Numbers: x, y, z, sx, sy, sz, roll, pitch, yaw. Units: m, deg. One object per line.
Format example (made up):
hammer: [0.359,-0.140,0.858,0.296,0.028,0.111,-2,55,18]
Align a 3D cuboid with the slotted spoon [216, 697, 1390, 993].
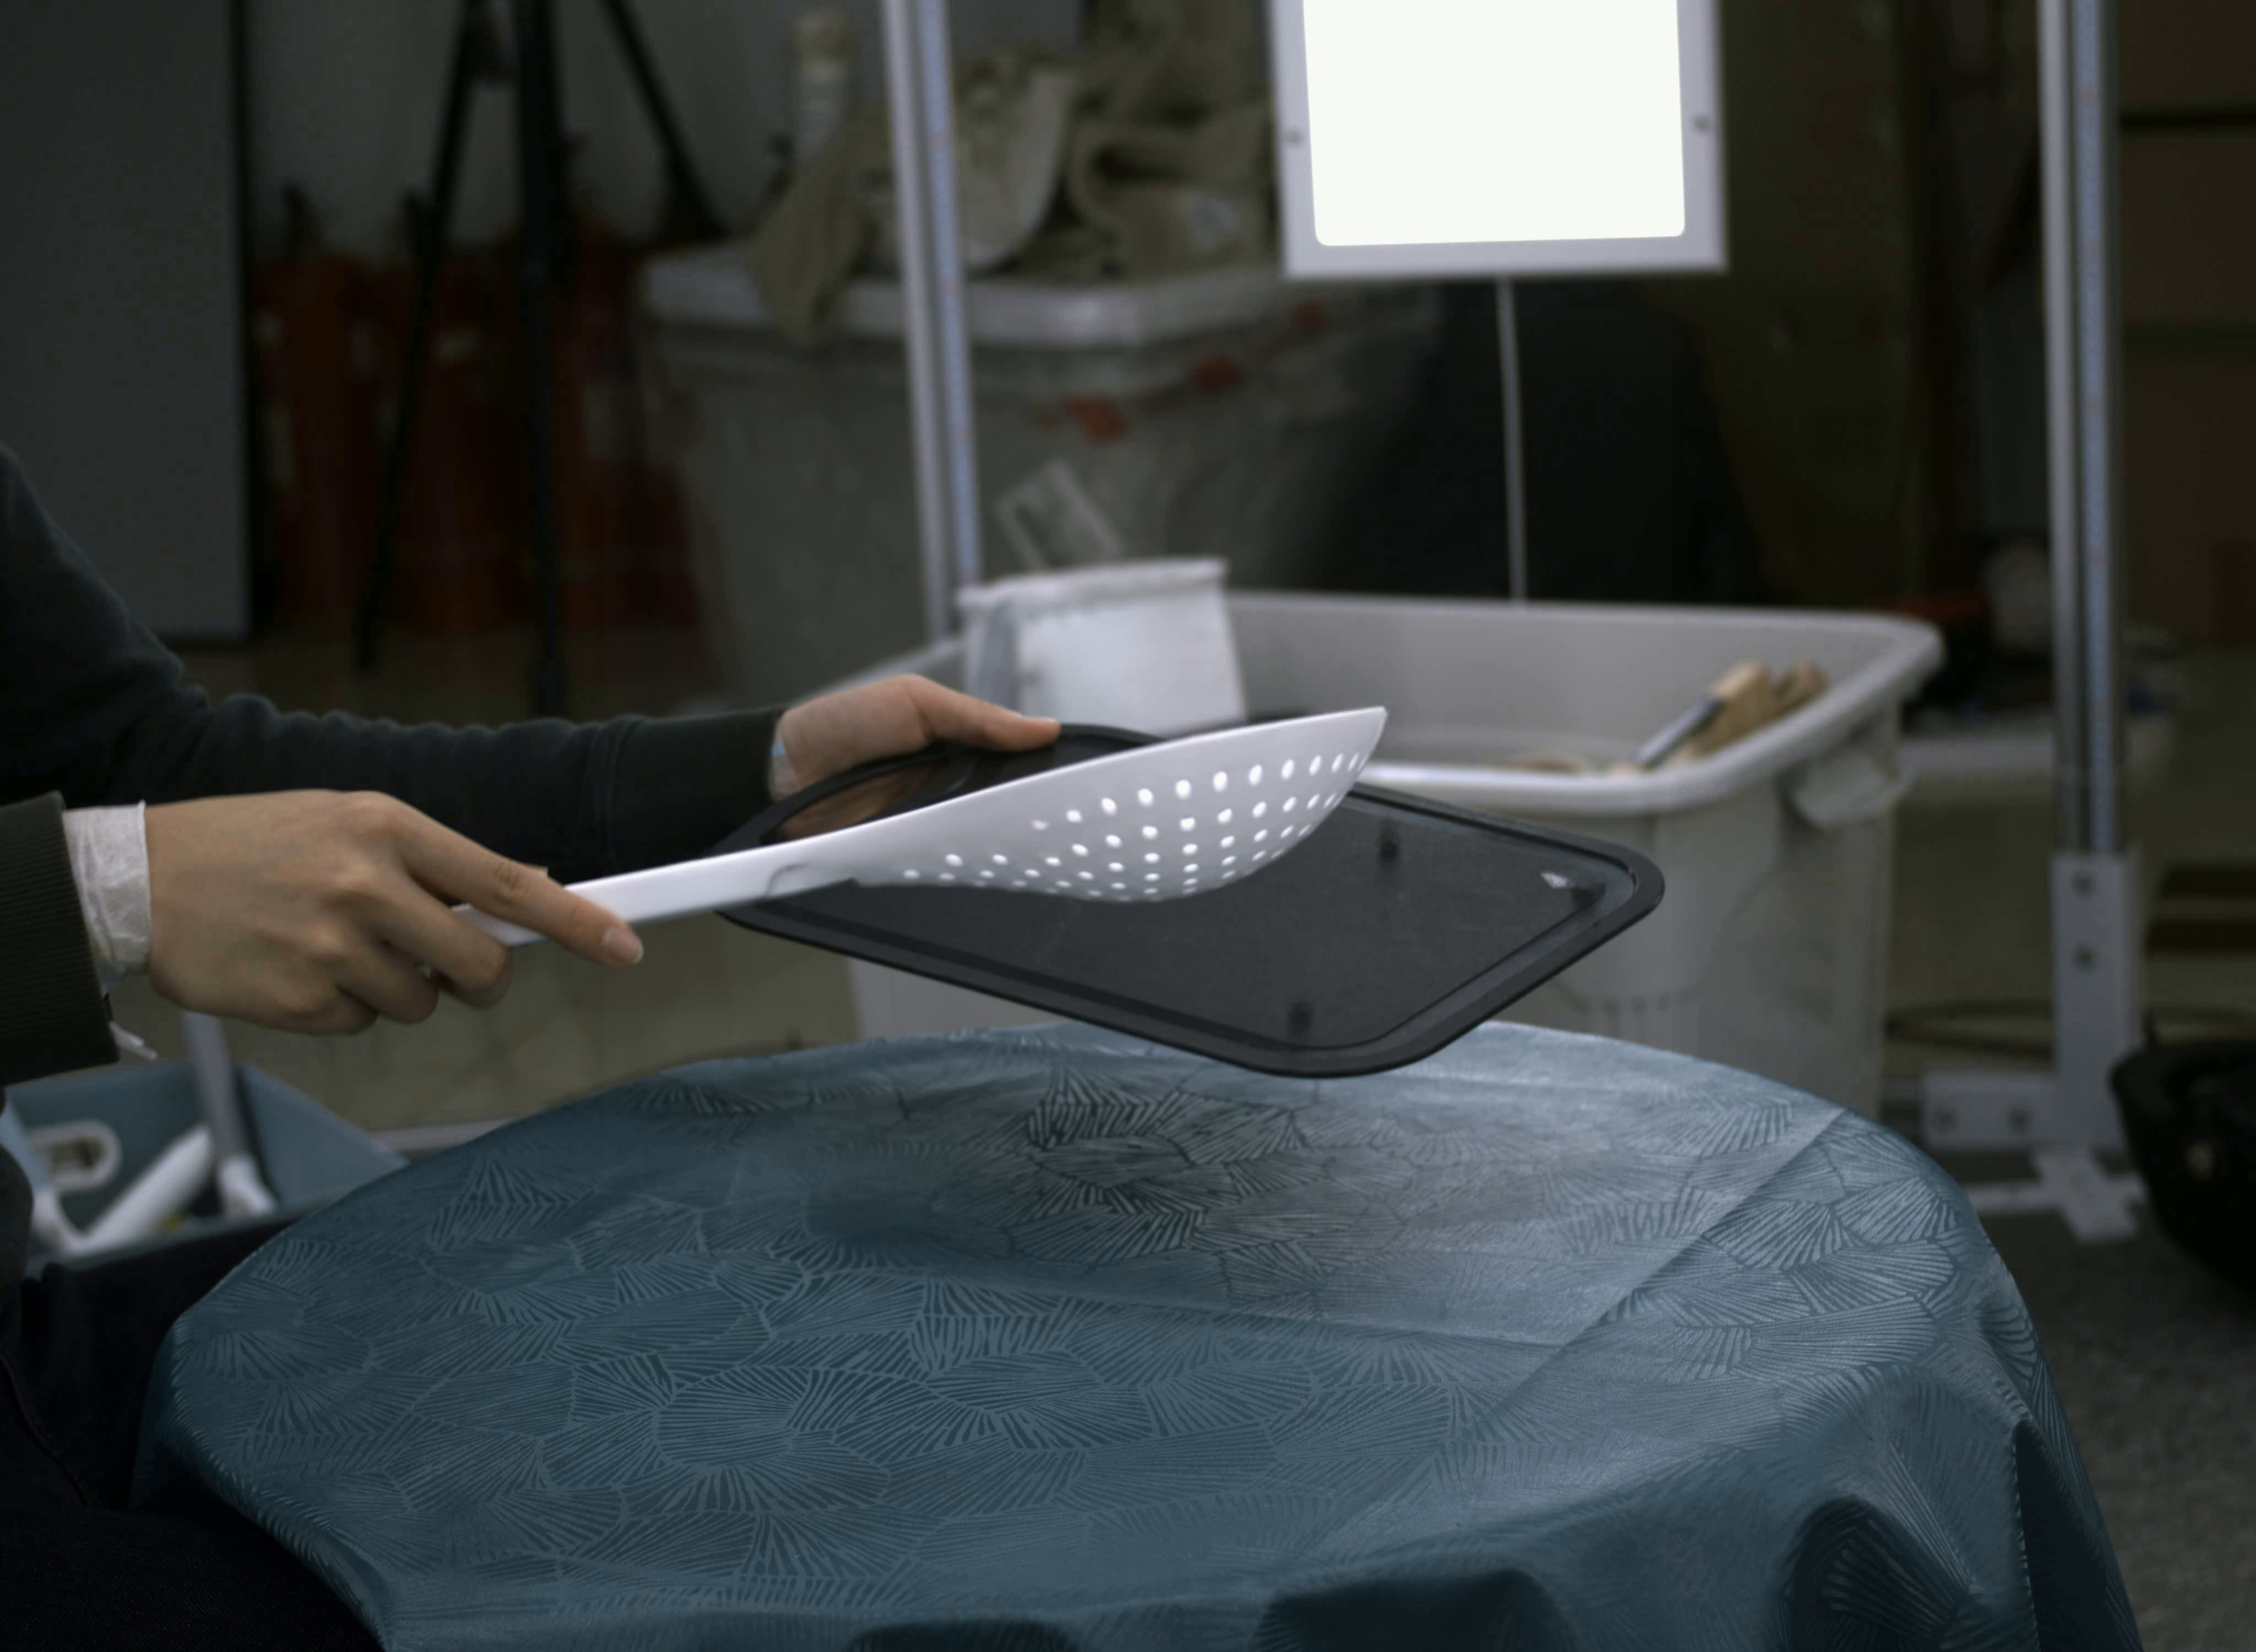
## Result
slotted spoon: [-0.093,0.006,1.610,0.348,0.046,0.136,-7,-2,-2]

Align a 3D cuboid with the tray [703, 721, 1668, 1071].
tray: [0.011,0.018,1.901,0.332,0.010,0.206,14,29,37]
